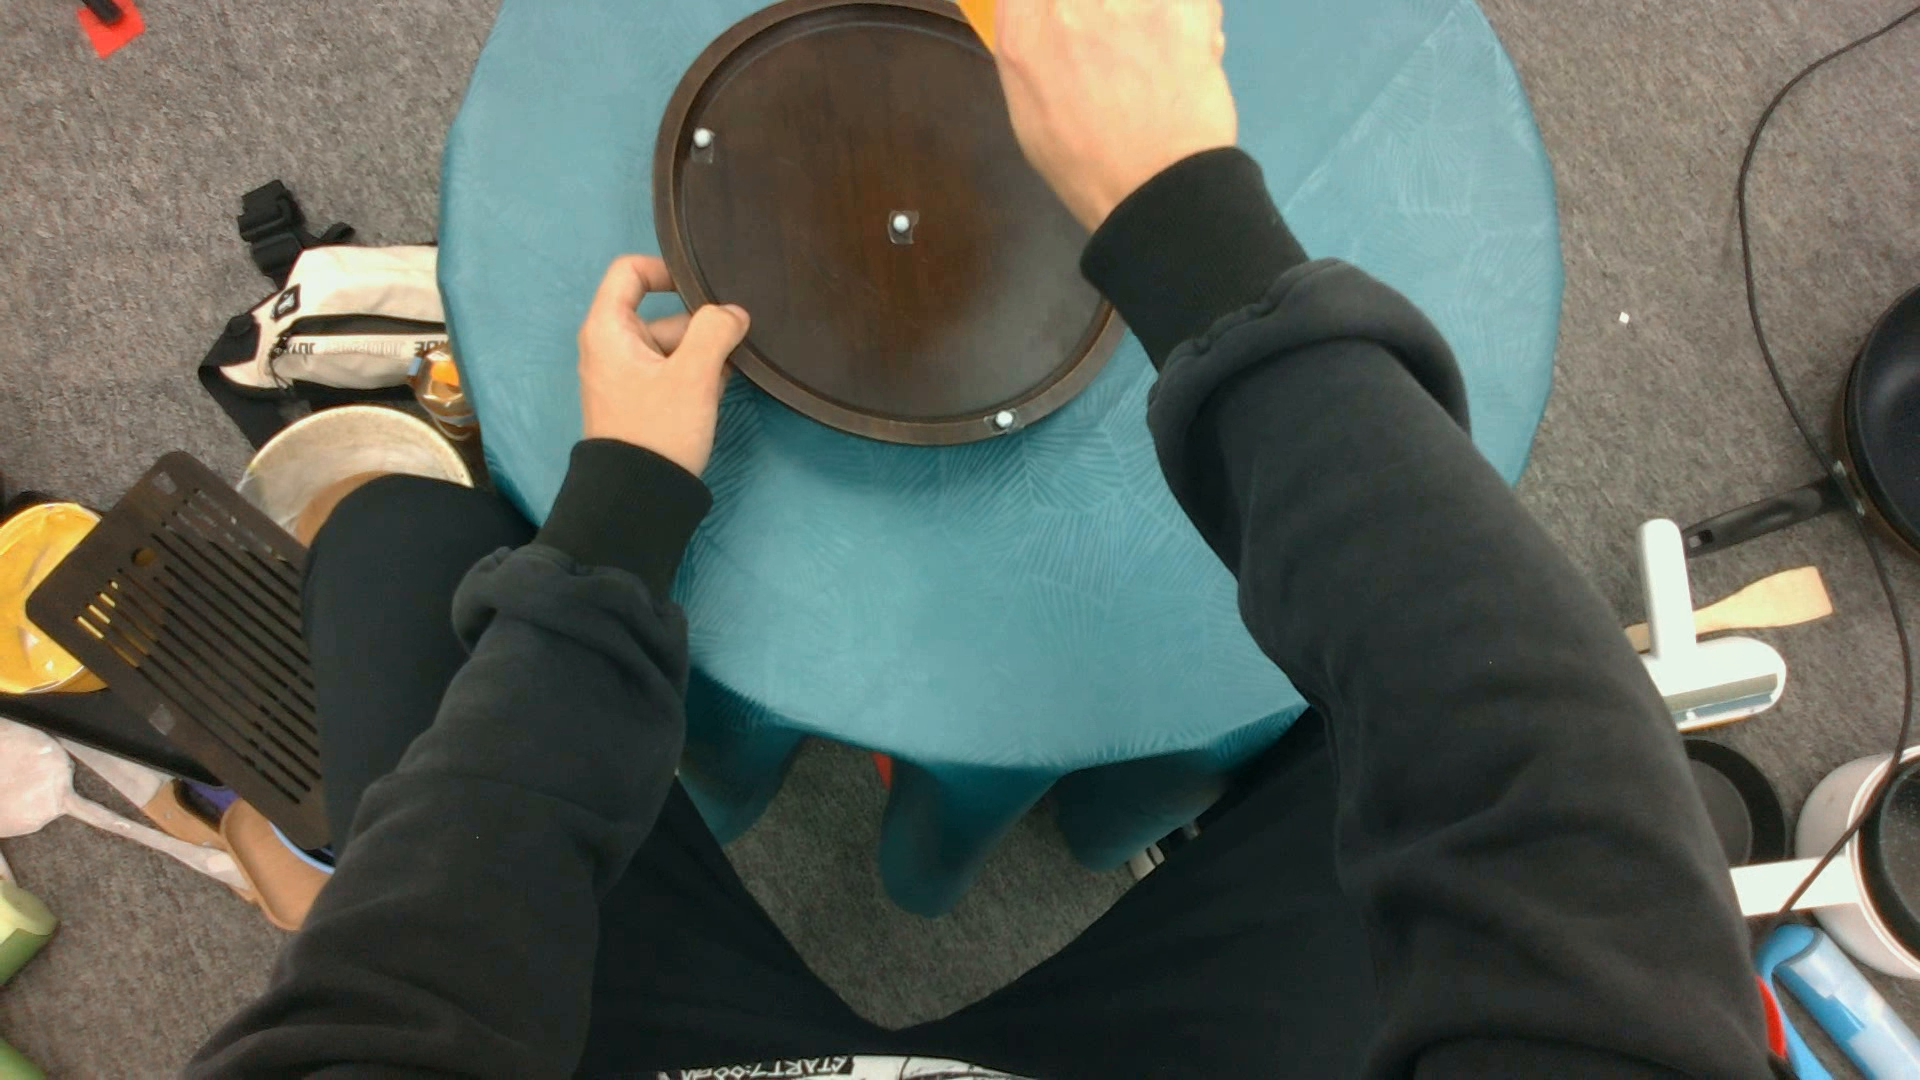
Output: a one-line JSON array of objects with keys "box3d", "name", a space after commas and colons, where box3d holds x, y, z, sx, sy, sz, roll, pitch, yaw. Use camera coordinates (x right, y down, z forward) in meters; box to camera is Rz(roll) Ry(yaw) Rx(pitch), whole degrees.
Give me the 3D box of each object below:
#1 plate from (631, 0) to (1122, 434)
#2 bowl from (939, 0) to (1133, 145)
[{"box3d": [-0.037, -0.171, 0.698, 0.255, 0.029, 0.255, 5, 73, -17], "name": "plate"}, {"box3d": [0.032, -0.249, 0.605, 0.060, 0.145, 0.145, -41, 83, 5], "name": "bowl"}]
